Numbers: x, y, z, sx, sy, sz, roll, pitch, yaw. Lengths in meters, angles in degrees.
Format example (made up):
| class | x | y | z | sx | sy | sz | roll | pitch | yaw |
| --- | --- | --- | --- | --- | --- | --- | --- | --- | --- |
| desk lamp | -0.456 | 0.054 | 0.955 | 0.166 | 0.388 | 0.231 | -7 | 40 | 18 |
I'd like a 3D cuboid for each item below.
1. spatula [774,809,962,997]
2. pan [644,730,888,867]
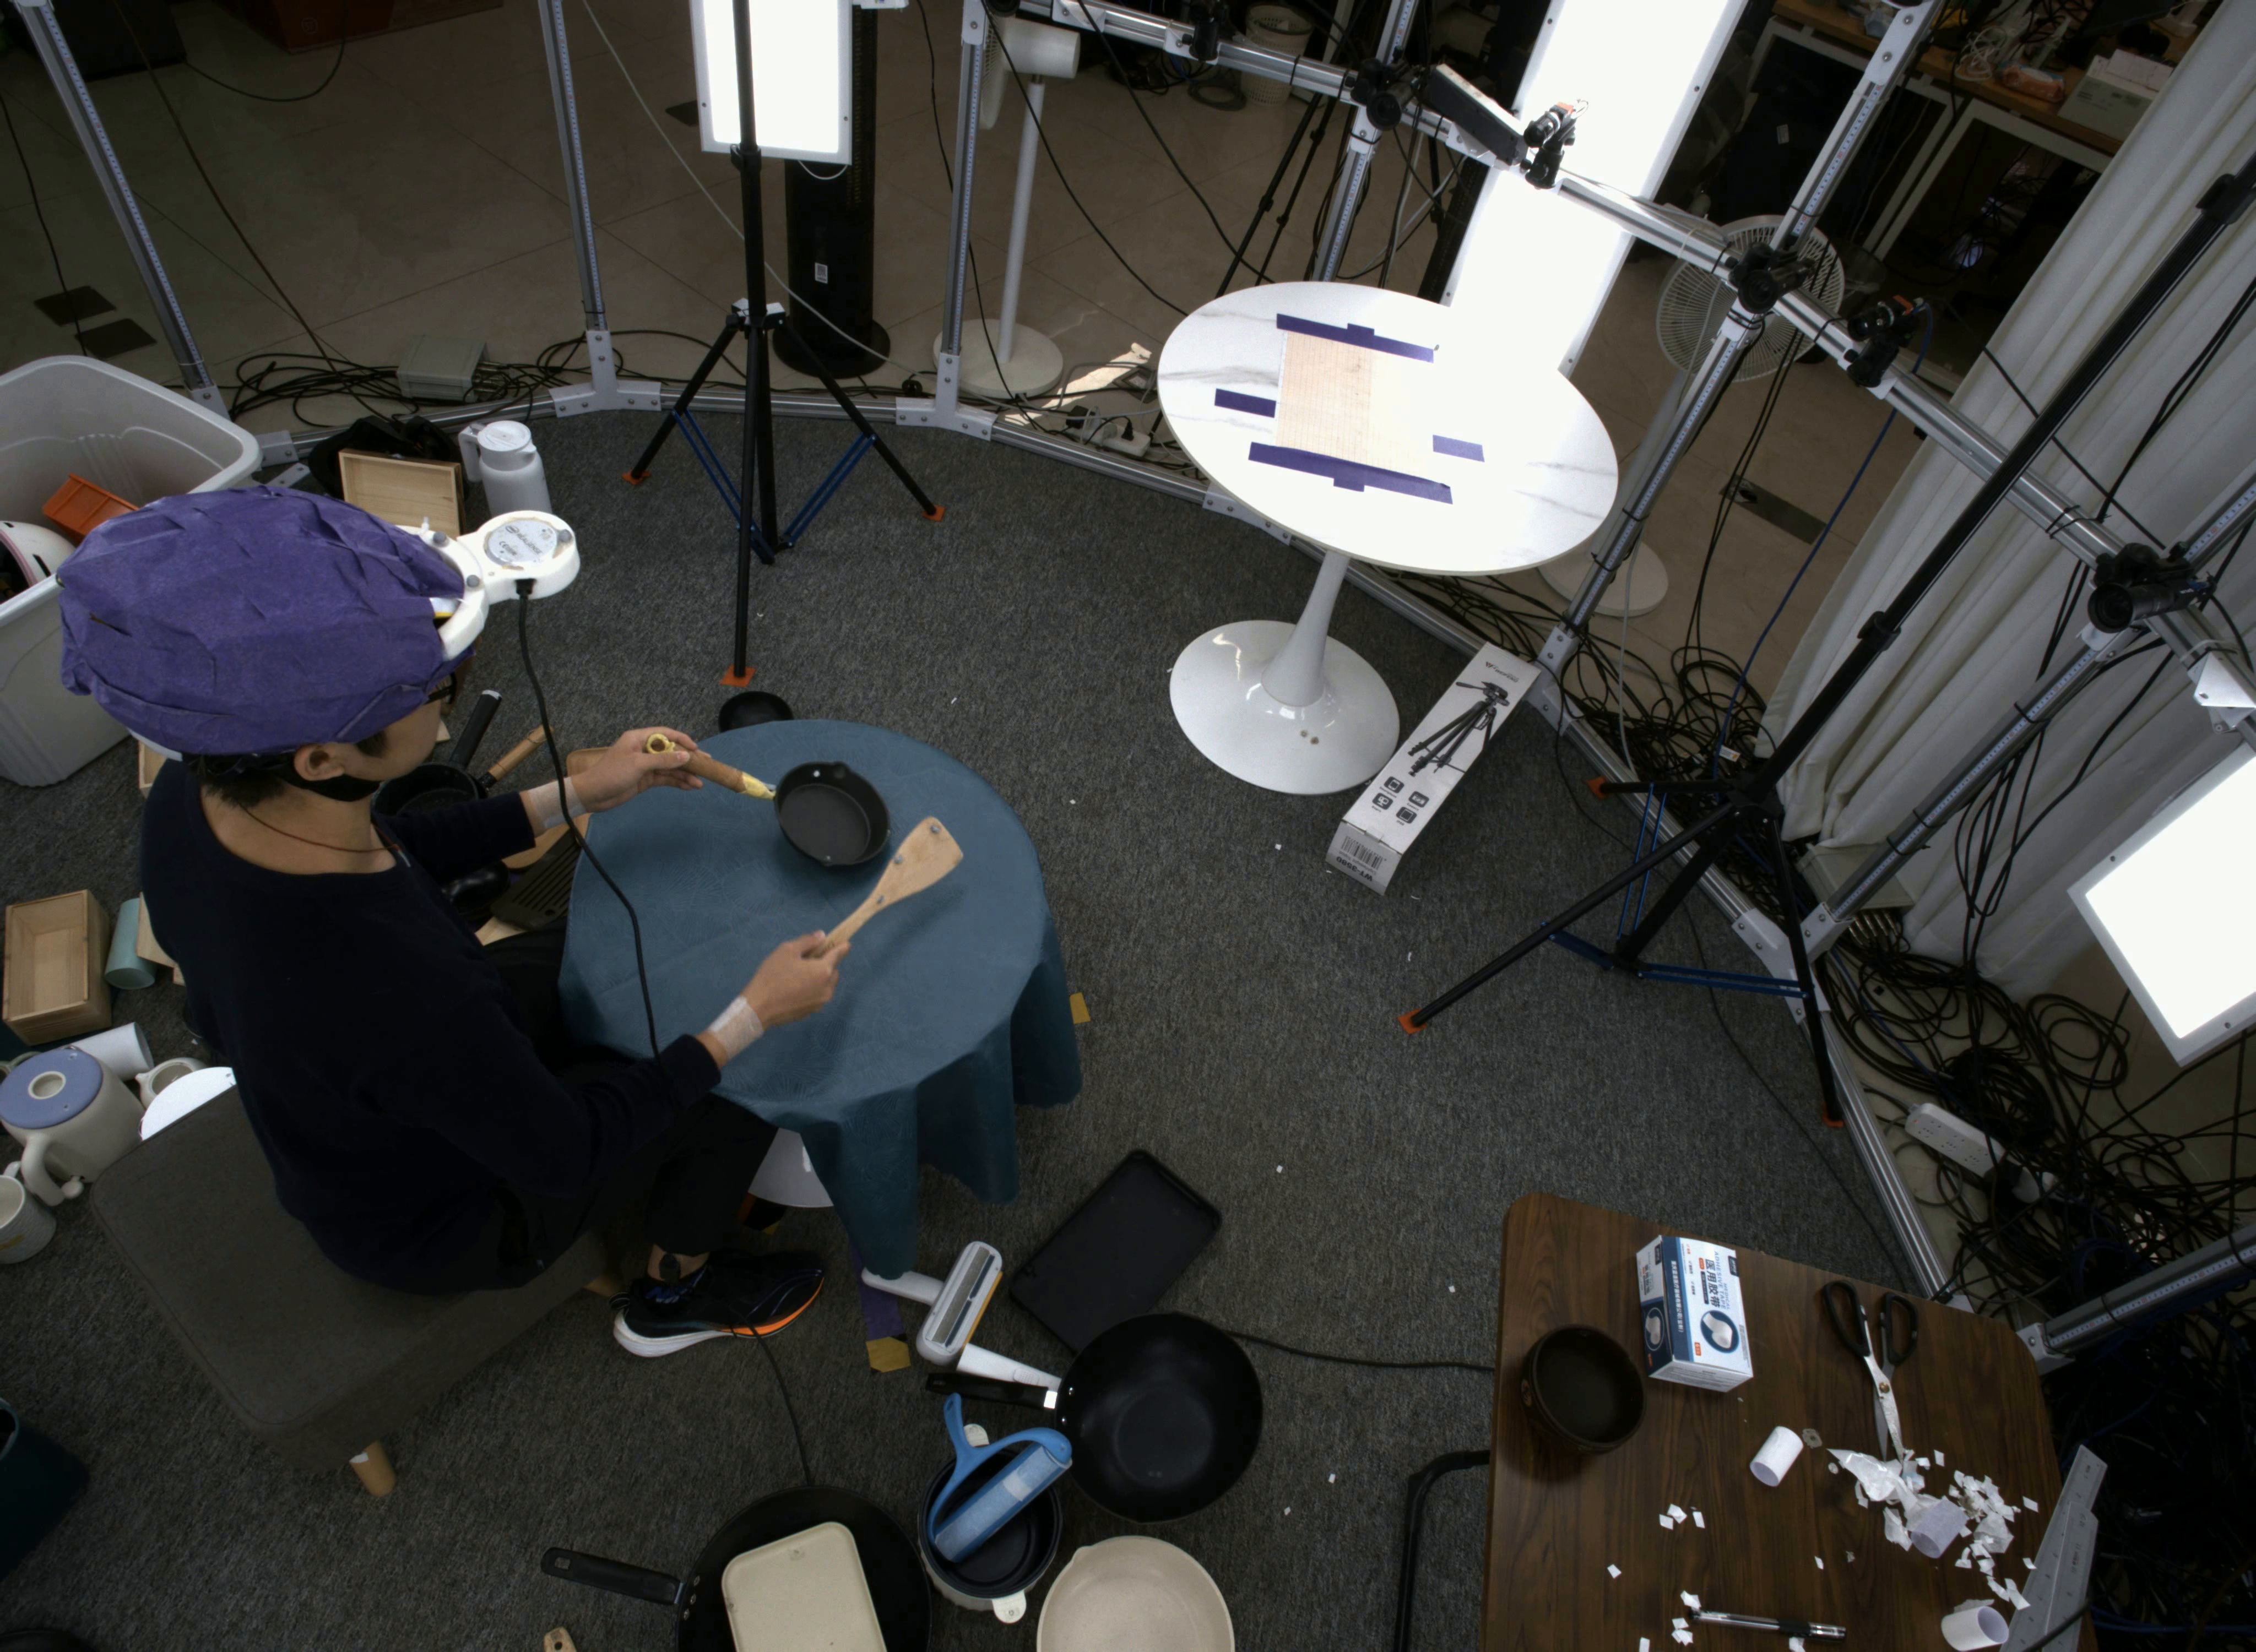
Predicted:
| class | x | y | z | sx | sy | sz | roll | pitch | yaw |
| --- | --- | --- | --- | --- | --- | --- | --- | --- | --- |
| spatula | -0.312 | 0.092 | 1.561 | 0.016 | 0.082 | 0.327 | -4 | 31 | 38 |
| pan | -0.458 | -0.045 | 1.641 | 0.331 | 0.049 | 0.166 | 23 | 48 | -26 |
